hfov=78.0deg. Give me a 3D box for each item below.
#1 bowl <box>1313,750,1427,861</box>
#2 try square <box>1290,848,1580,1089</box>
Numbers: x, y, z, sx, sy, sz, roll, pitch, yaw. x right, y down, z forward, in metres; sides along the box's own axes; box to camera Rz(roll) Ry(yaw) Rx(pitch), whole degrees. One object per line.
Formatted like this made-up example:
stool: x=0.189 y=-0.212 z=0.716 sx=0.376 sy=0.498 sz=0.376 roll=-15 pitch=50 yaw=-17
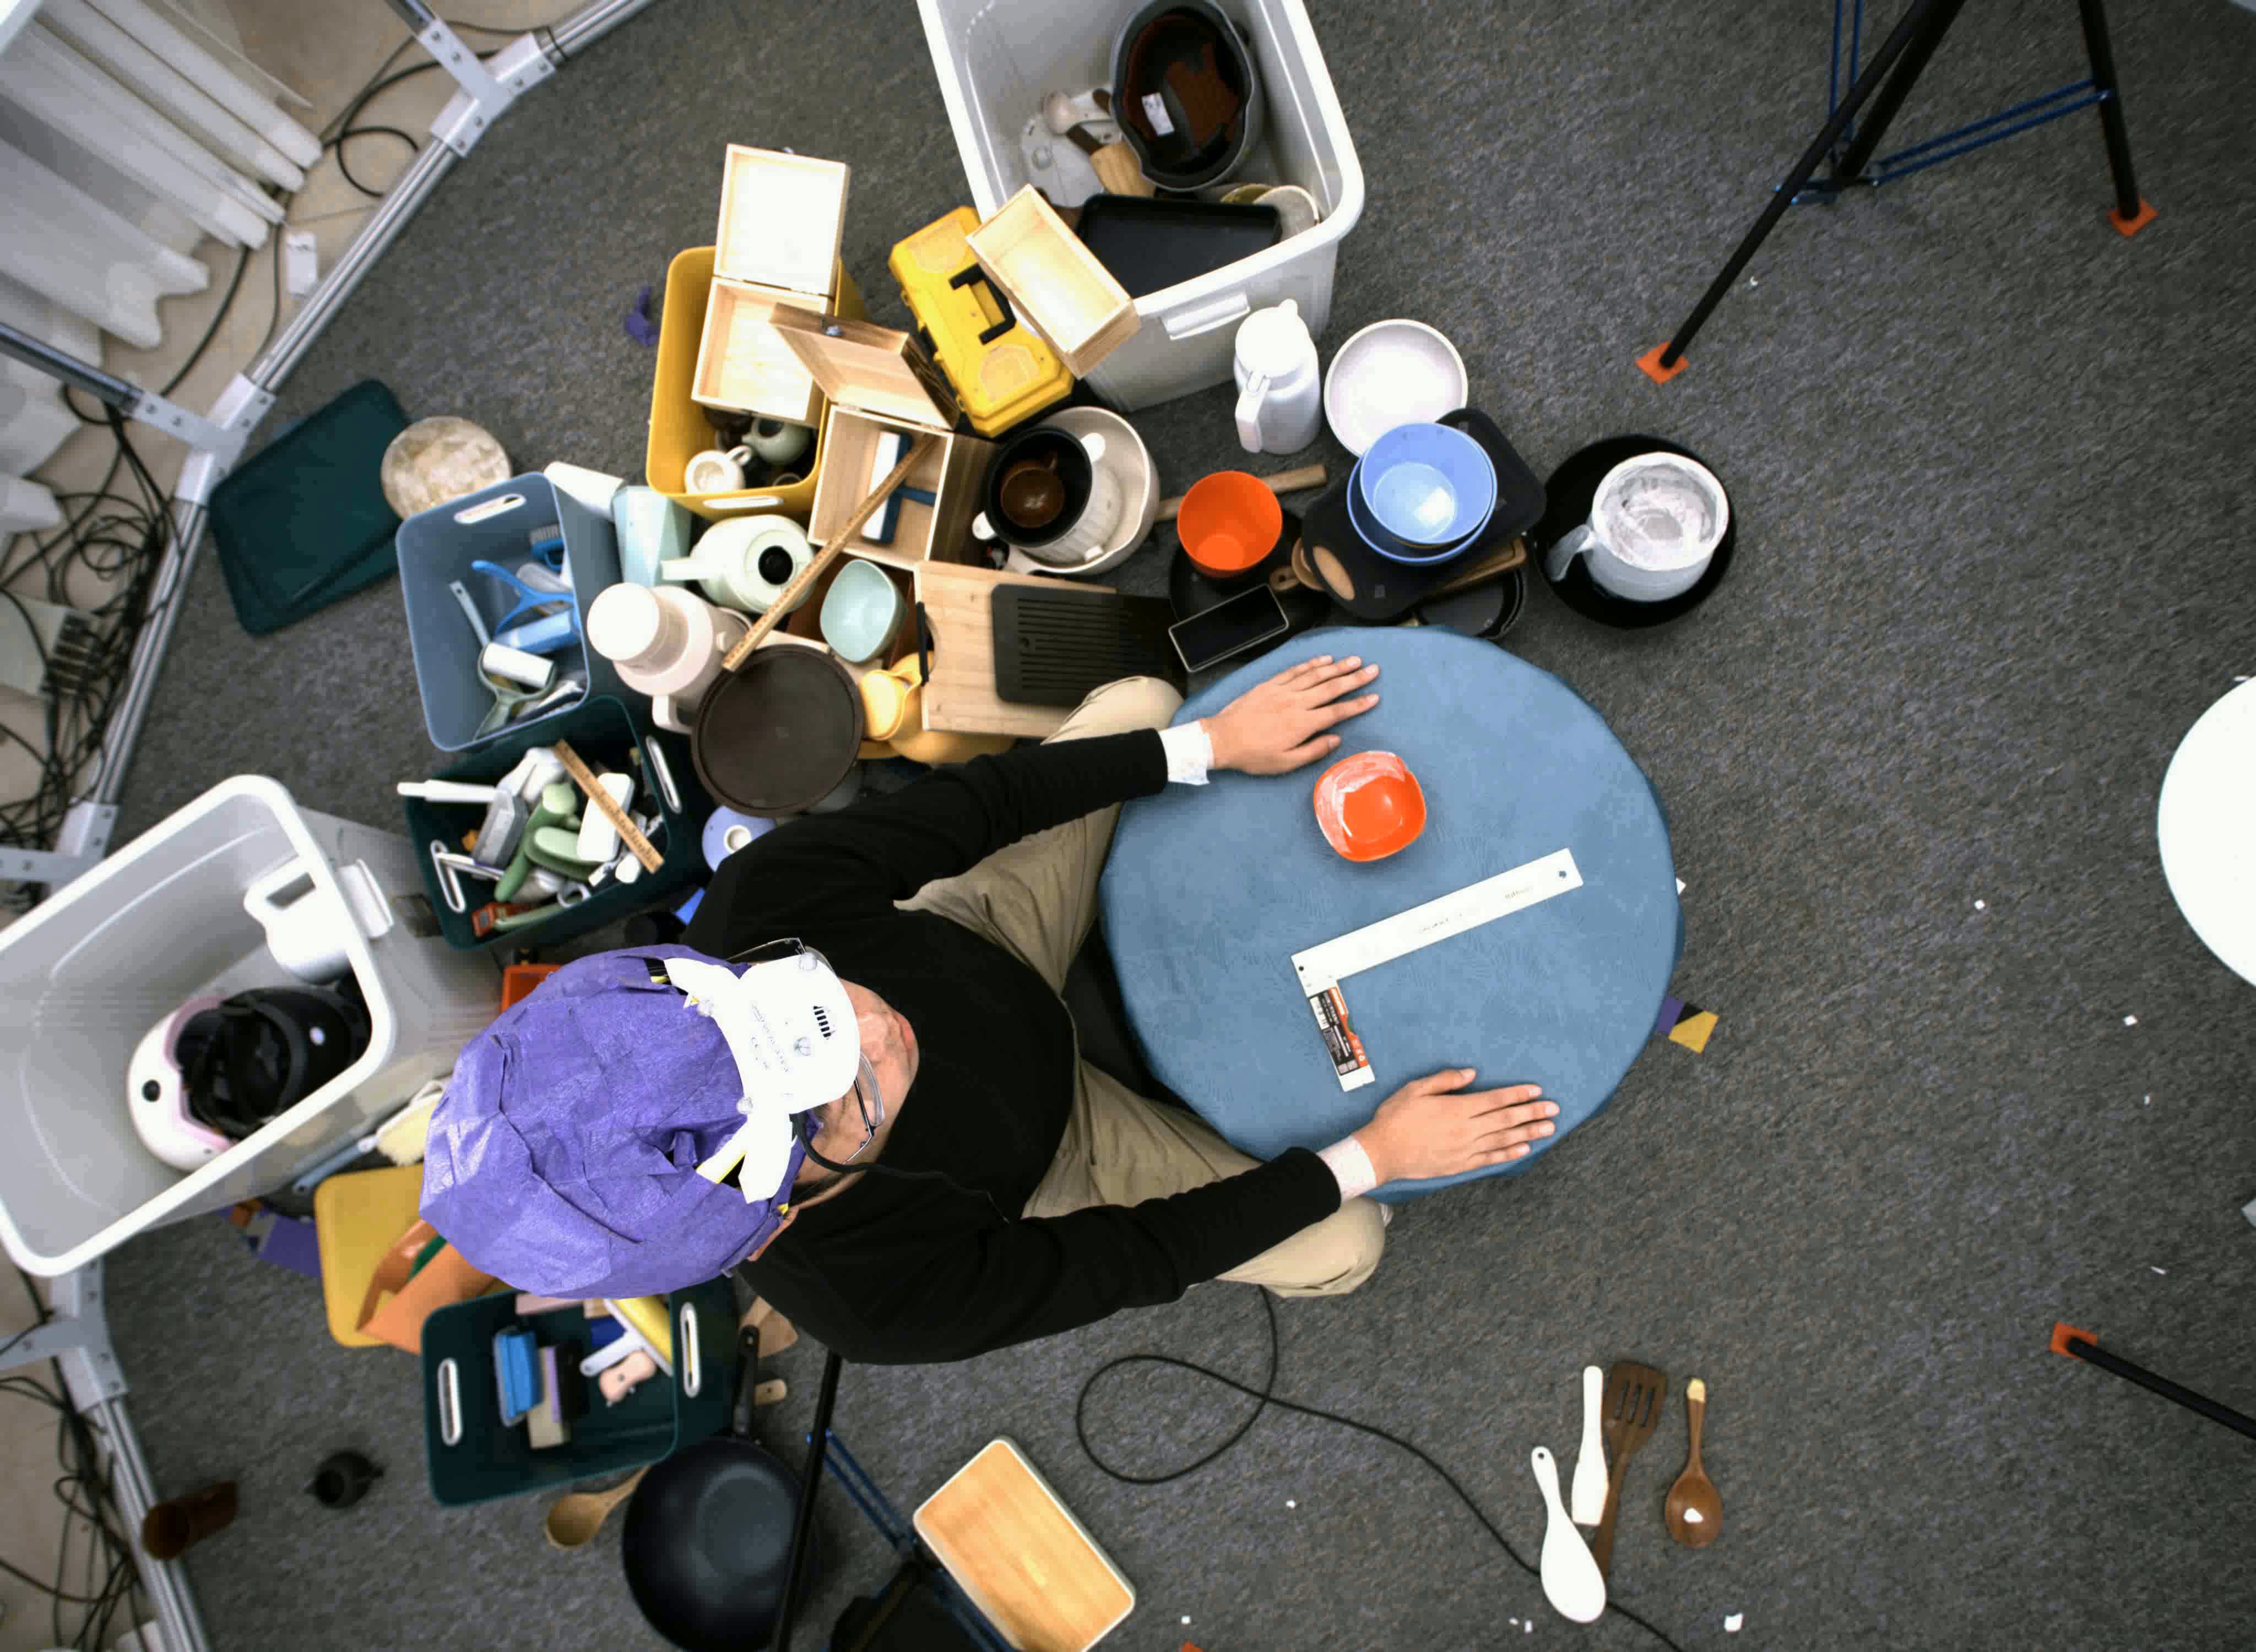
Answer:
bowl: x=0.252 y=-0.020 z=1.442 sx=0.119 sy=0.051 sz=0.118 roll=-1 pitch=87 yaw=9
try square: x=0.339 y=0.148 z=1.442 sx=0.314 sy=0.016 sz=0.152 roll=-22 pitch=87 yaw=7
